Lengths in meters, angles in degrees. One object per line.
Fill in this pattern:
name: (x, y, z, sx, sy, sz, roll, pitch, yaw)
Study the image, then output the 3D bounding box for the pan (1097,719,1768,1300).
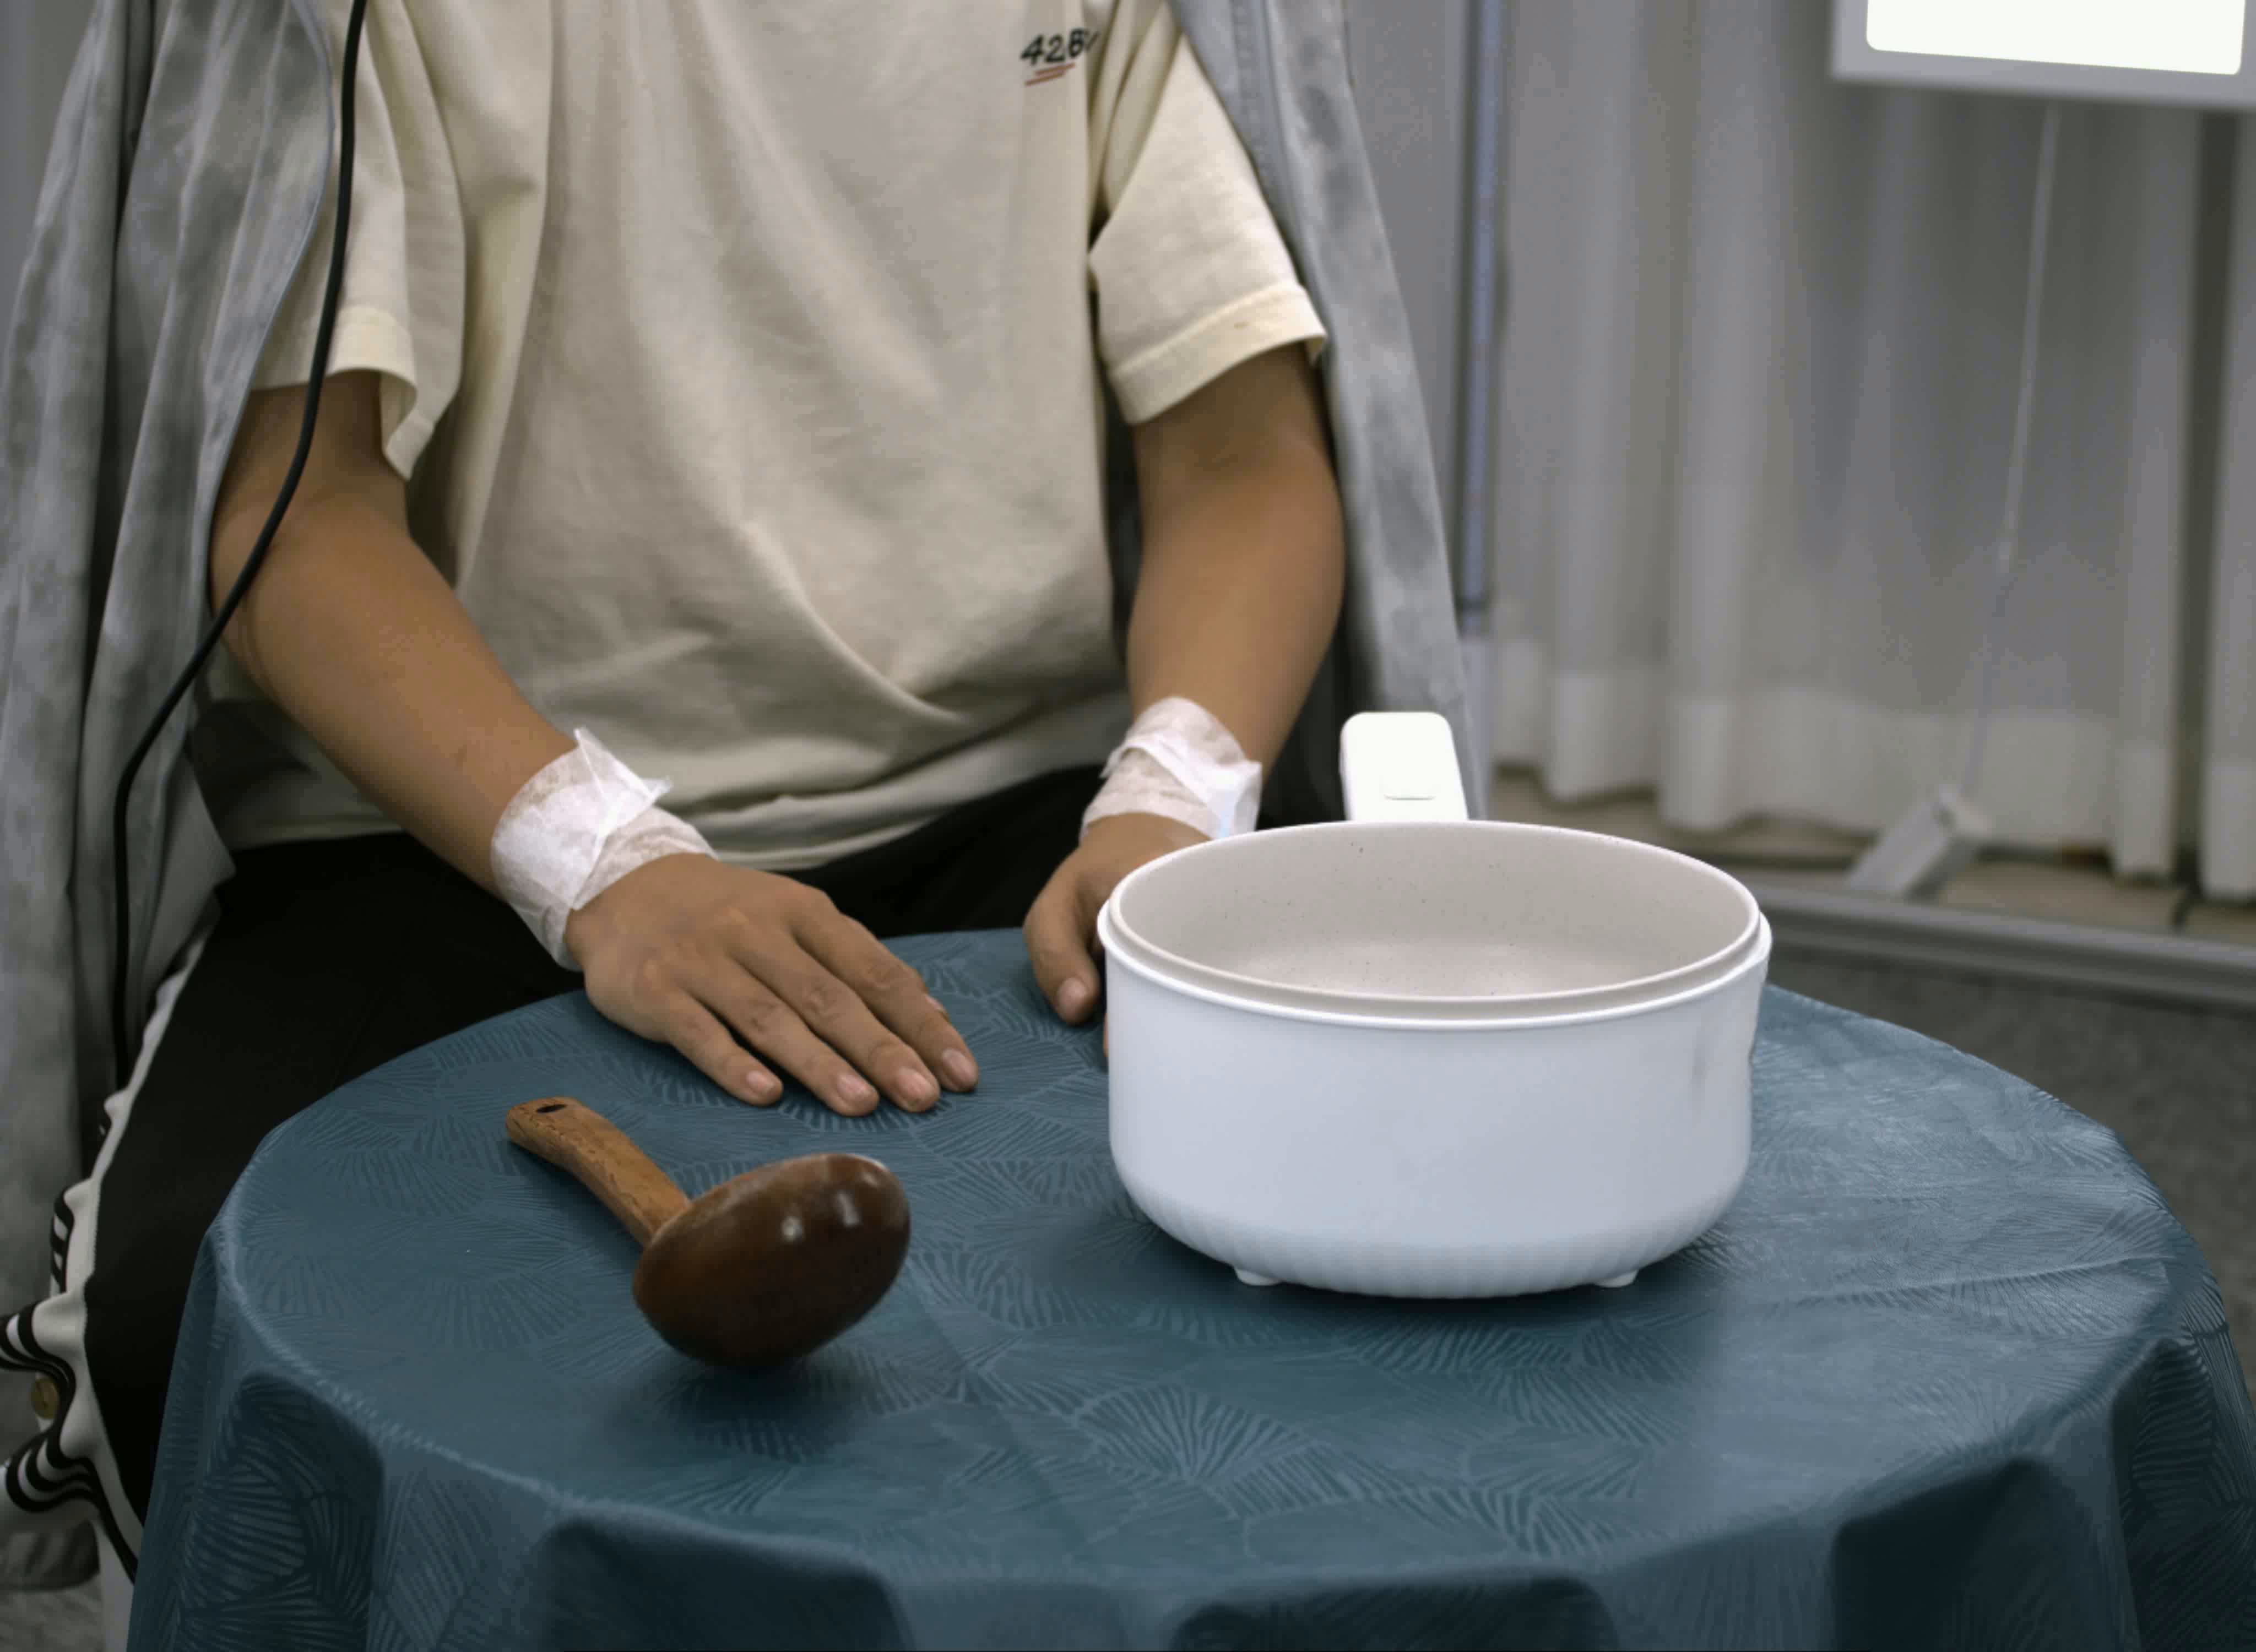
pan: (0.092, 0.053, 1.661, 0.200, 0.103, 0.353, 0, 15, 1)

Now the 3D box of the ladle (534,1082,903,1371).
ladle: (-0.137, 0.093, 1.541, 0.082, 0.077, 0.271, -7, 19, -19)
